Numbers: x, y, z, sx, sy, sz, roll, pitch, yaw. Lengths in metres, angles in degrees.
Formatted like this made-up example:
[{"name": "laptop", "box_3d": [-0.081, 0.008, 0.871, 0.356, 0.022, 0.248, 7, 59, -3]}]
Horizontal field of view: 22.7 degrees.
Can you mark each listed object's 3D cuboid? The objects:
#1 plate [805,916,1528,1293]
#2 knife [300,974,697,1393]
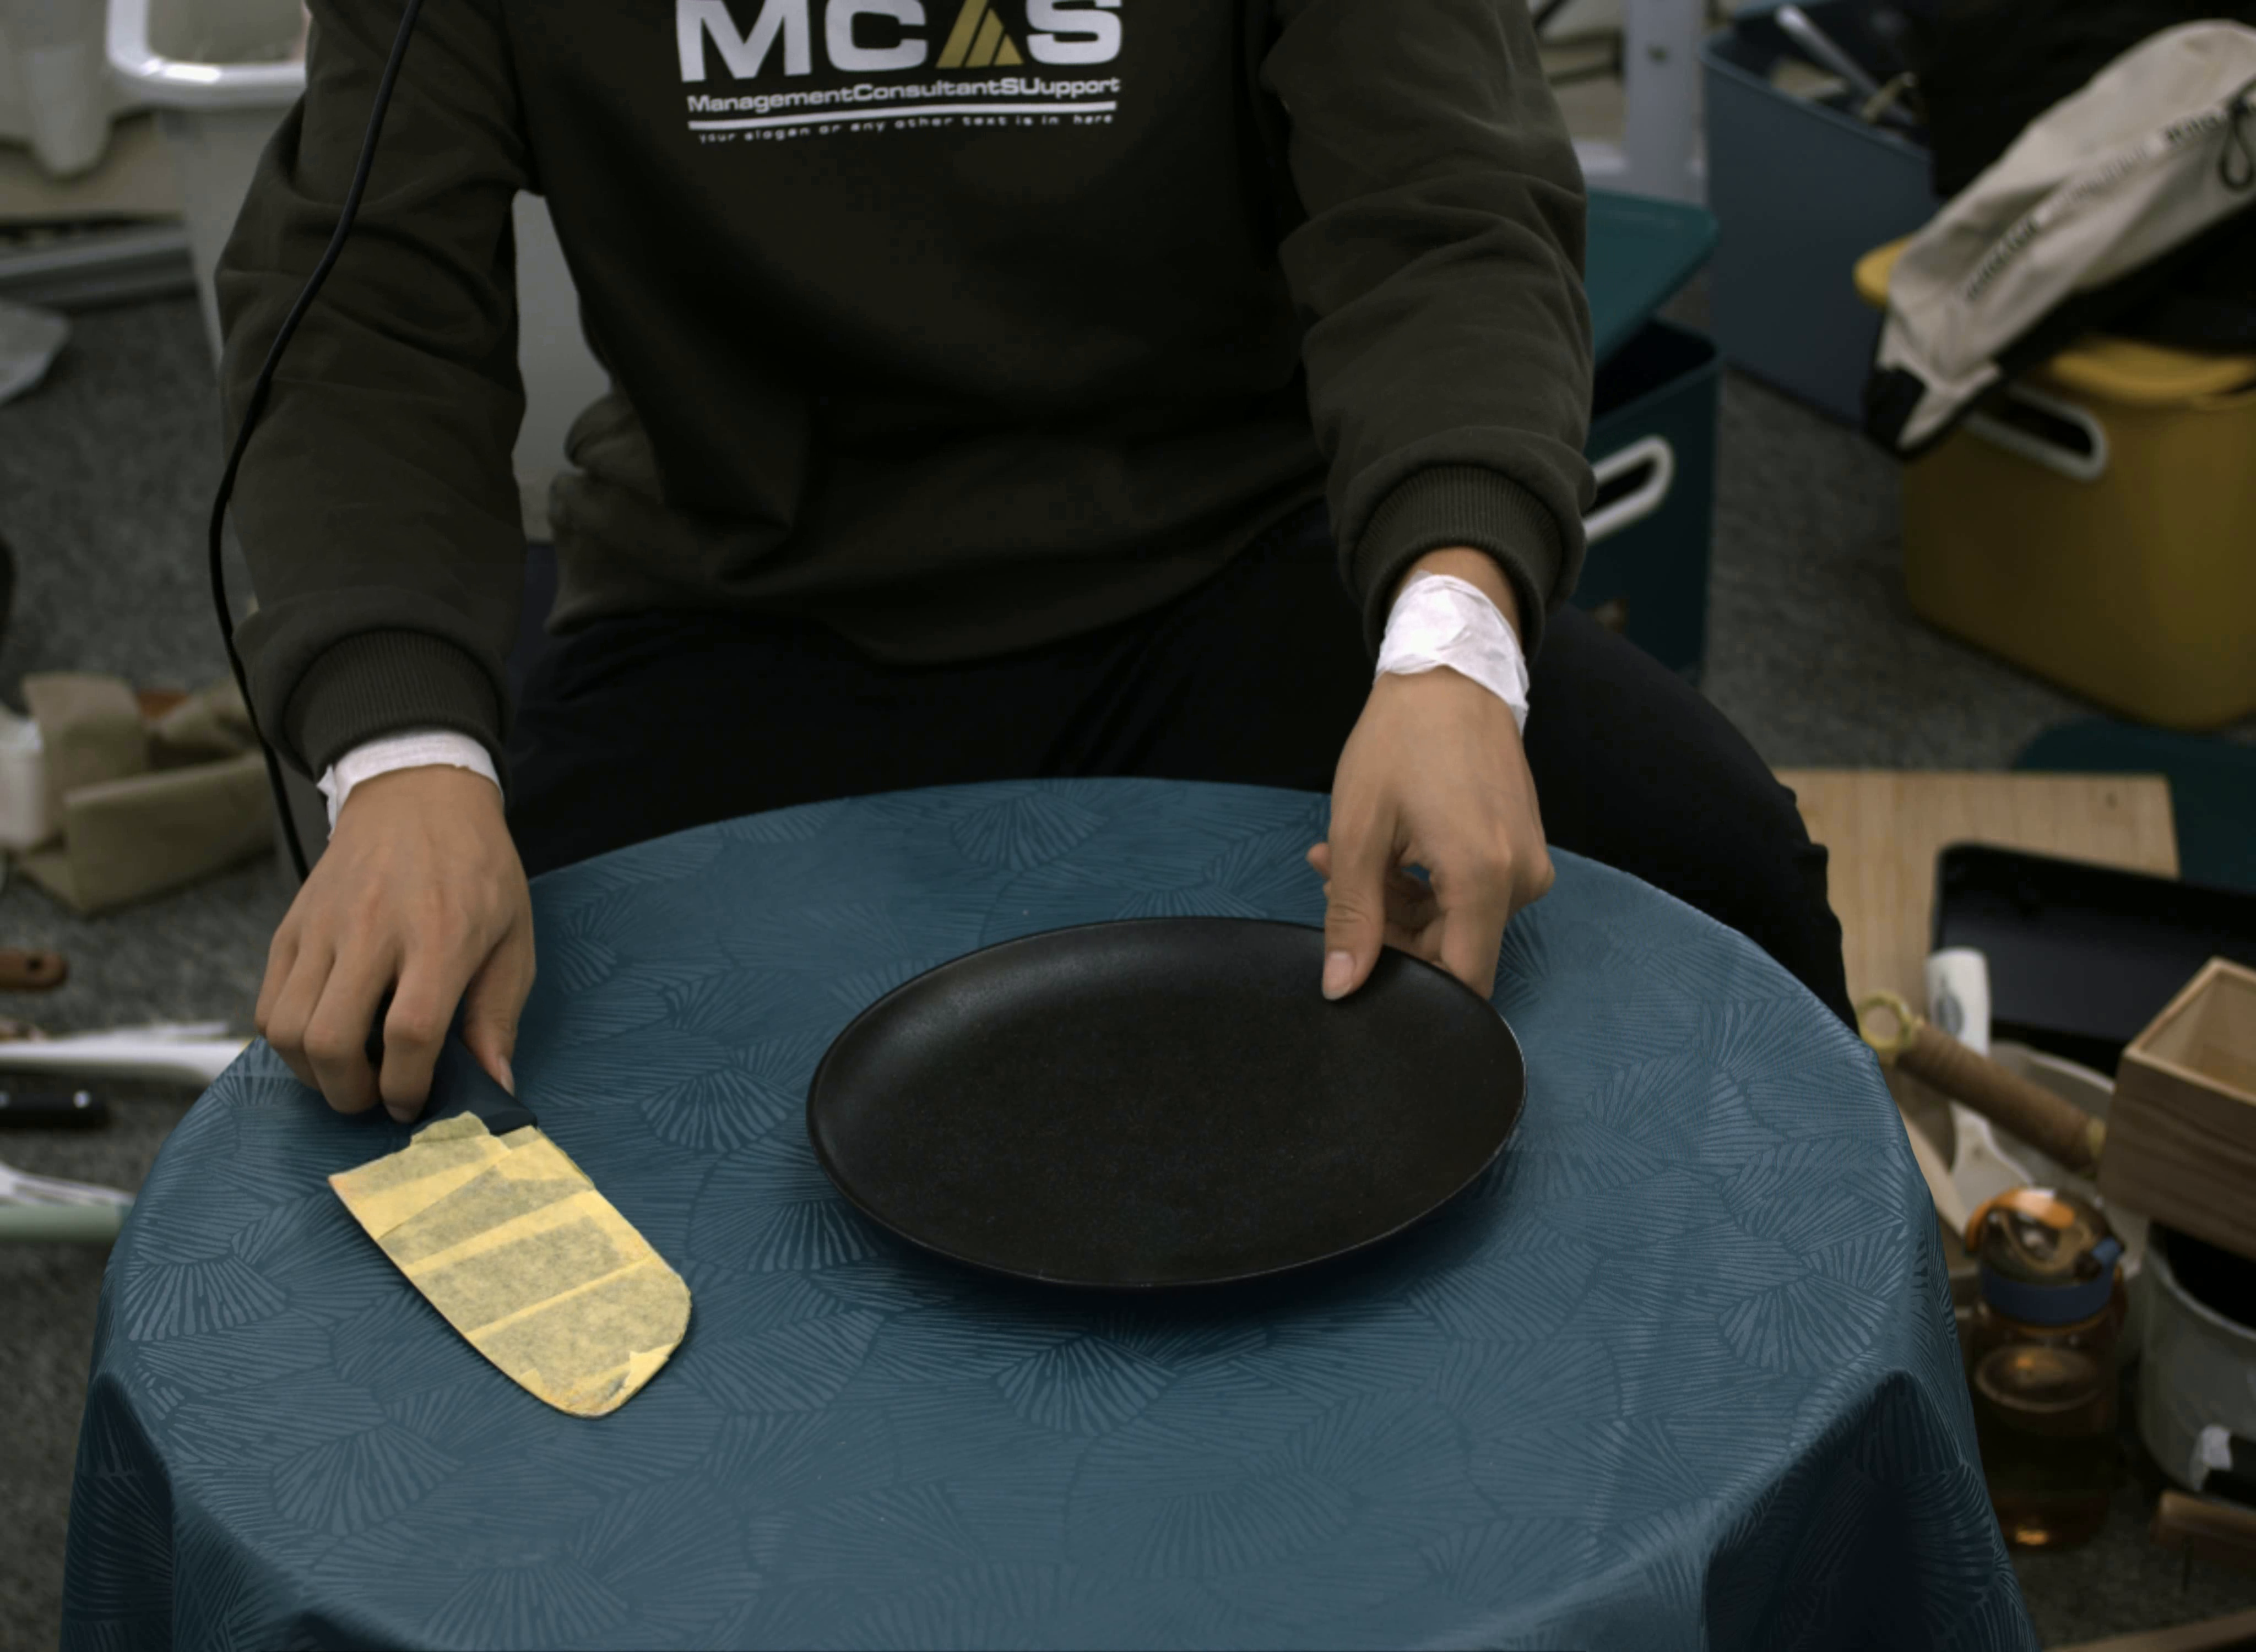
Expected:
[{"name": "plate", "box_3d": [0.013, 0.097, 1.882, 0.243, 0.023, 0.248, -2, 27, 1]}, {"name": "knife", "box_3d": [-0.224, 0.119, 1.871, 0.081, 0.027, 0.291, -16, 31, -24]}]
